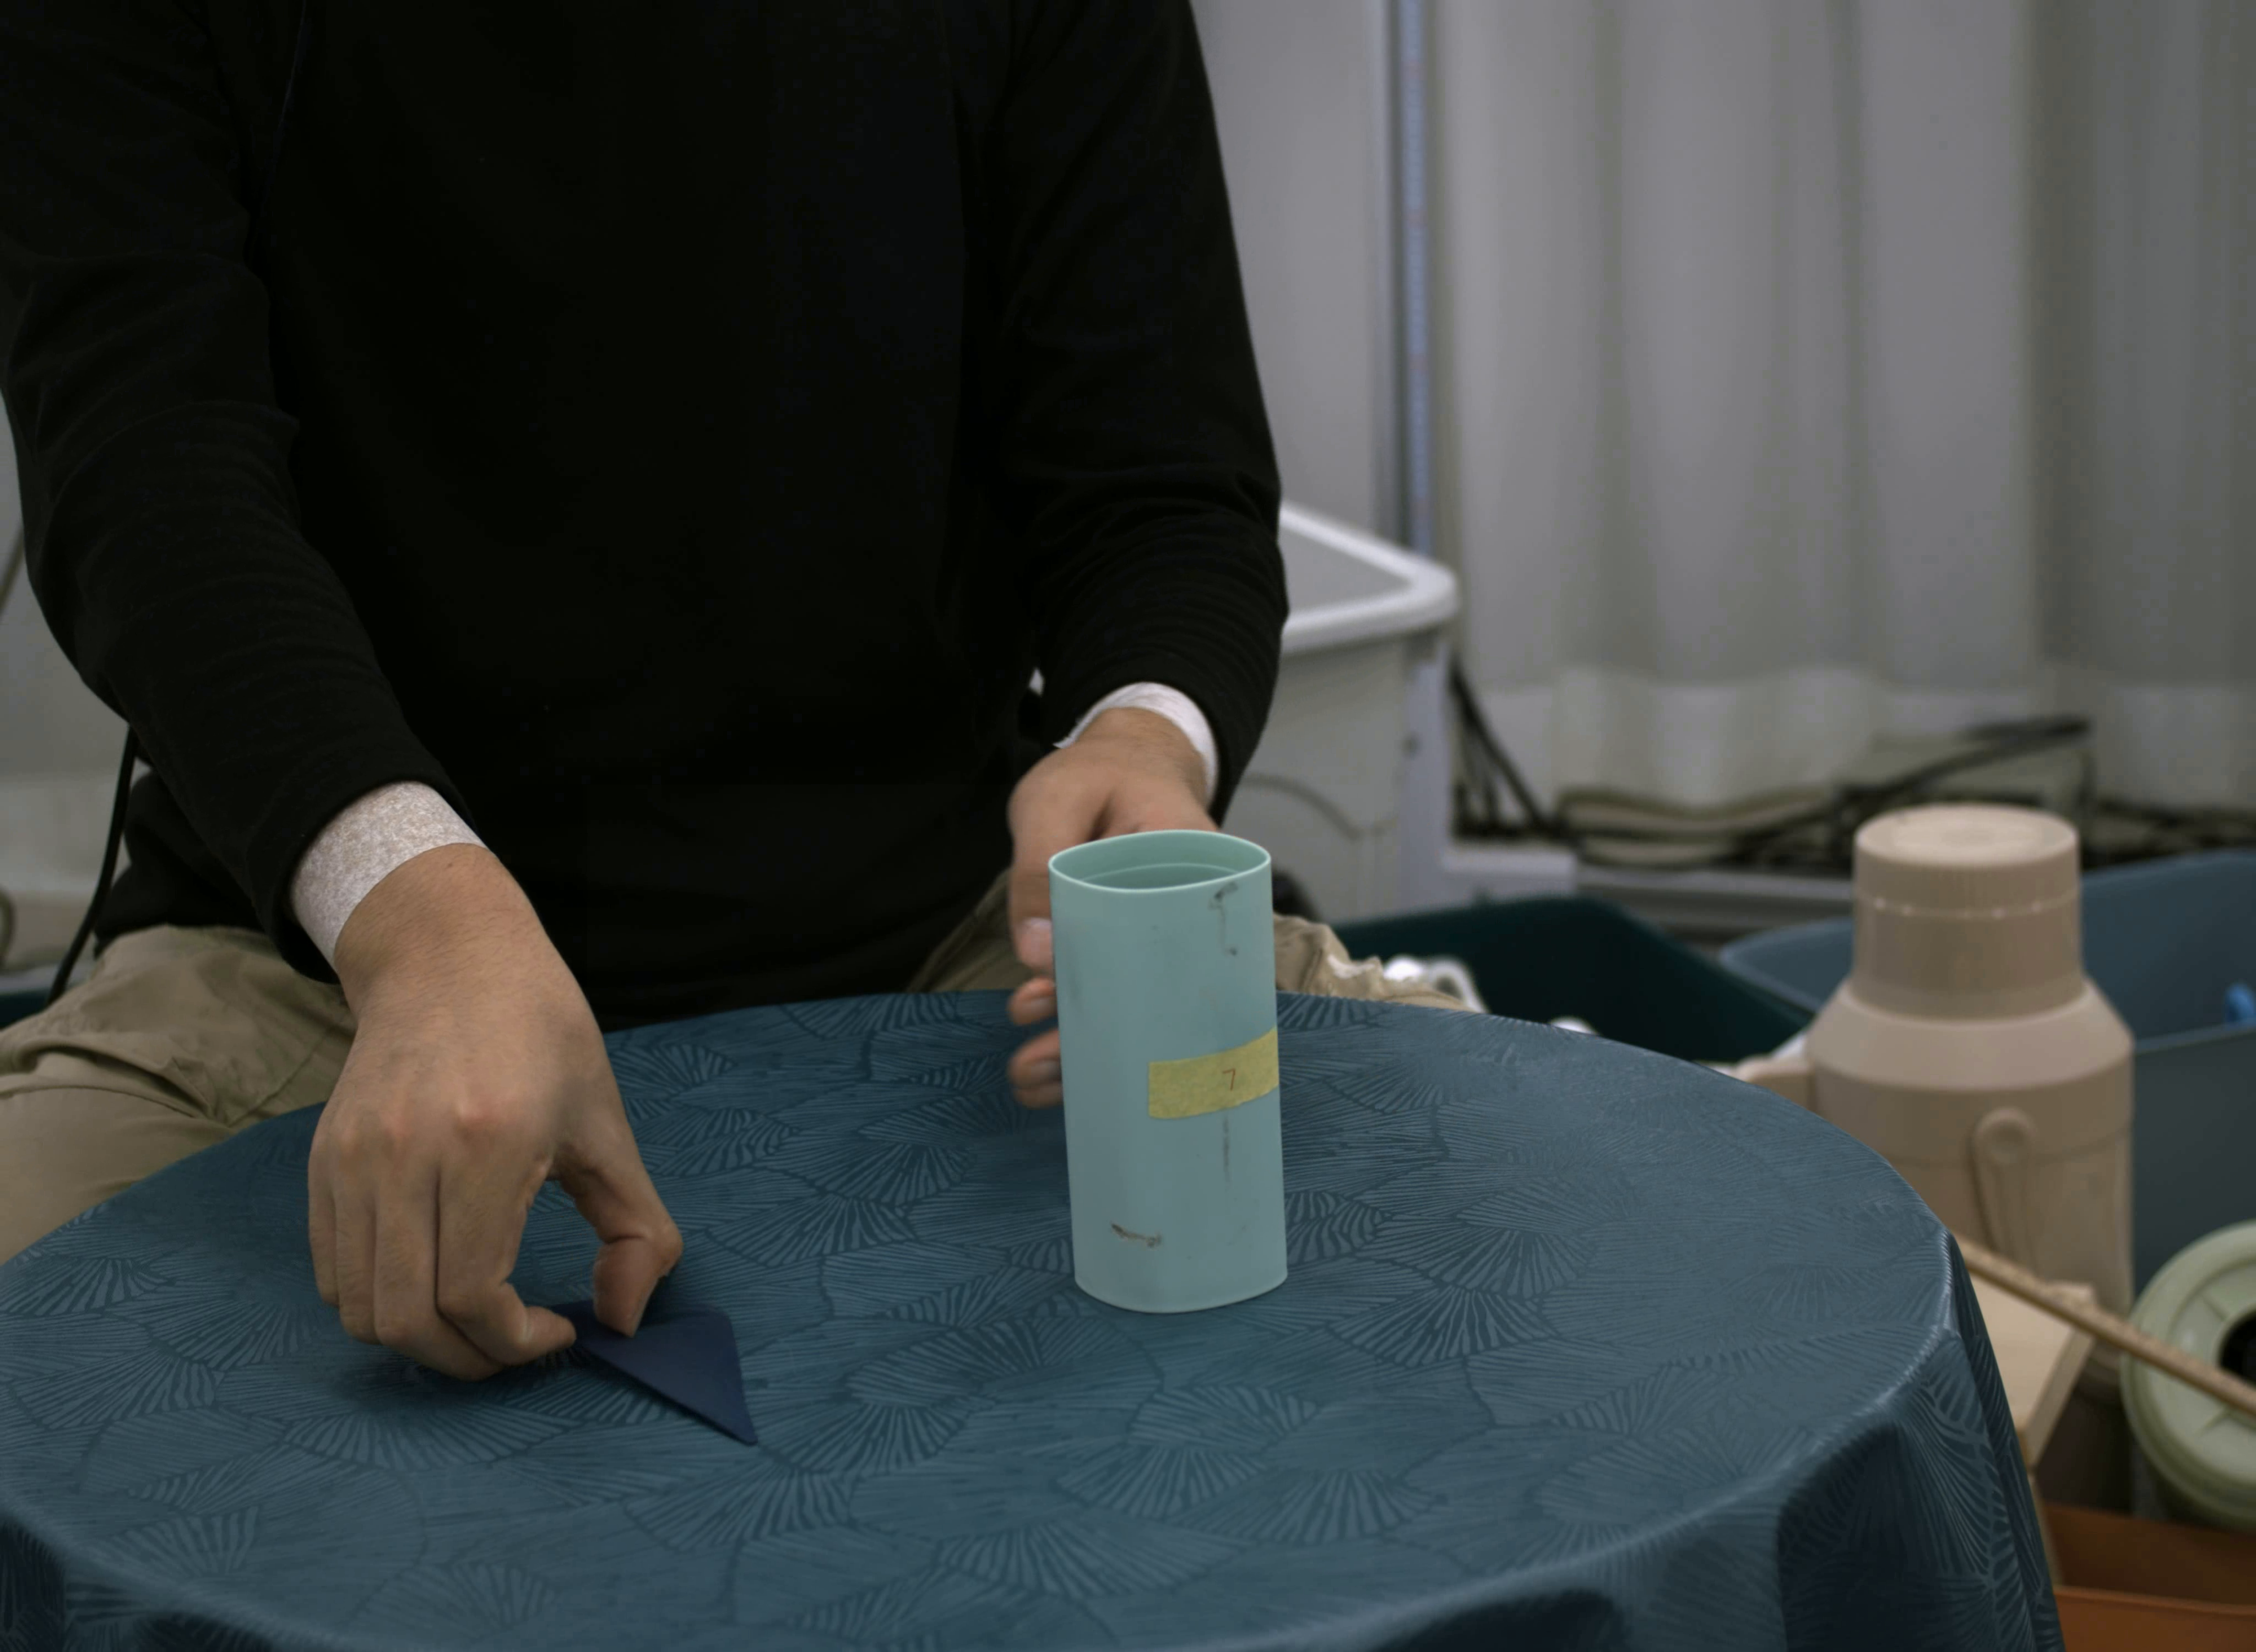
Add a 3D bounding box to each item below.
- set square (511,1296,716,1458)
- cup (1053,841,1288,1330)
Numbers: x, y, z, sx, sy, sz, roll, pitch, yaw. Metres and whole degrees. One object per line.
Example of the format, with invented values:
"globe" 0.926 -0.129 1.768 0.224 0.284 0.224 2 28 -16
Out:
"set square" -0.148 0.155 1.568 0.061 0.006 0.133 3 14 -5
"cup" 0.013 0.076 1.620 0.066 0.132 0.067 -3 14 0
